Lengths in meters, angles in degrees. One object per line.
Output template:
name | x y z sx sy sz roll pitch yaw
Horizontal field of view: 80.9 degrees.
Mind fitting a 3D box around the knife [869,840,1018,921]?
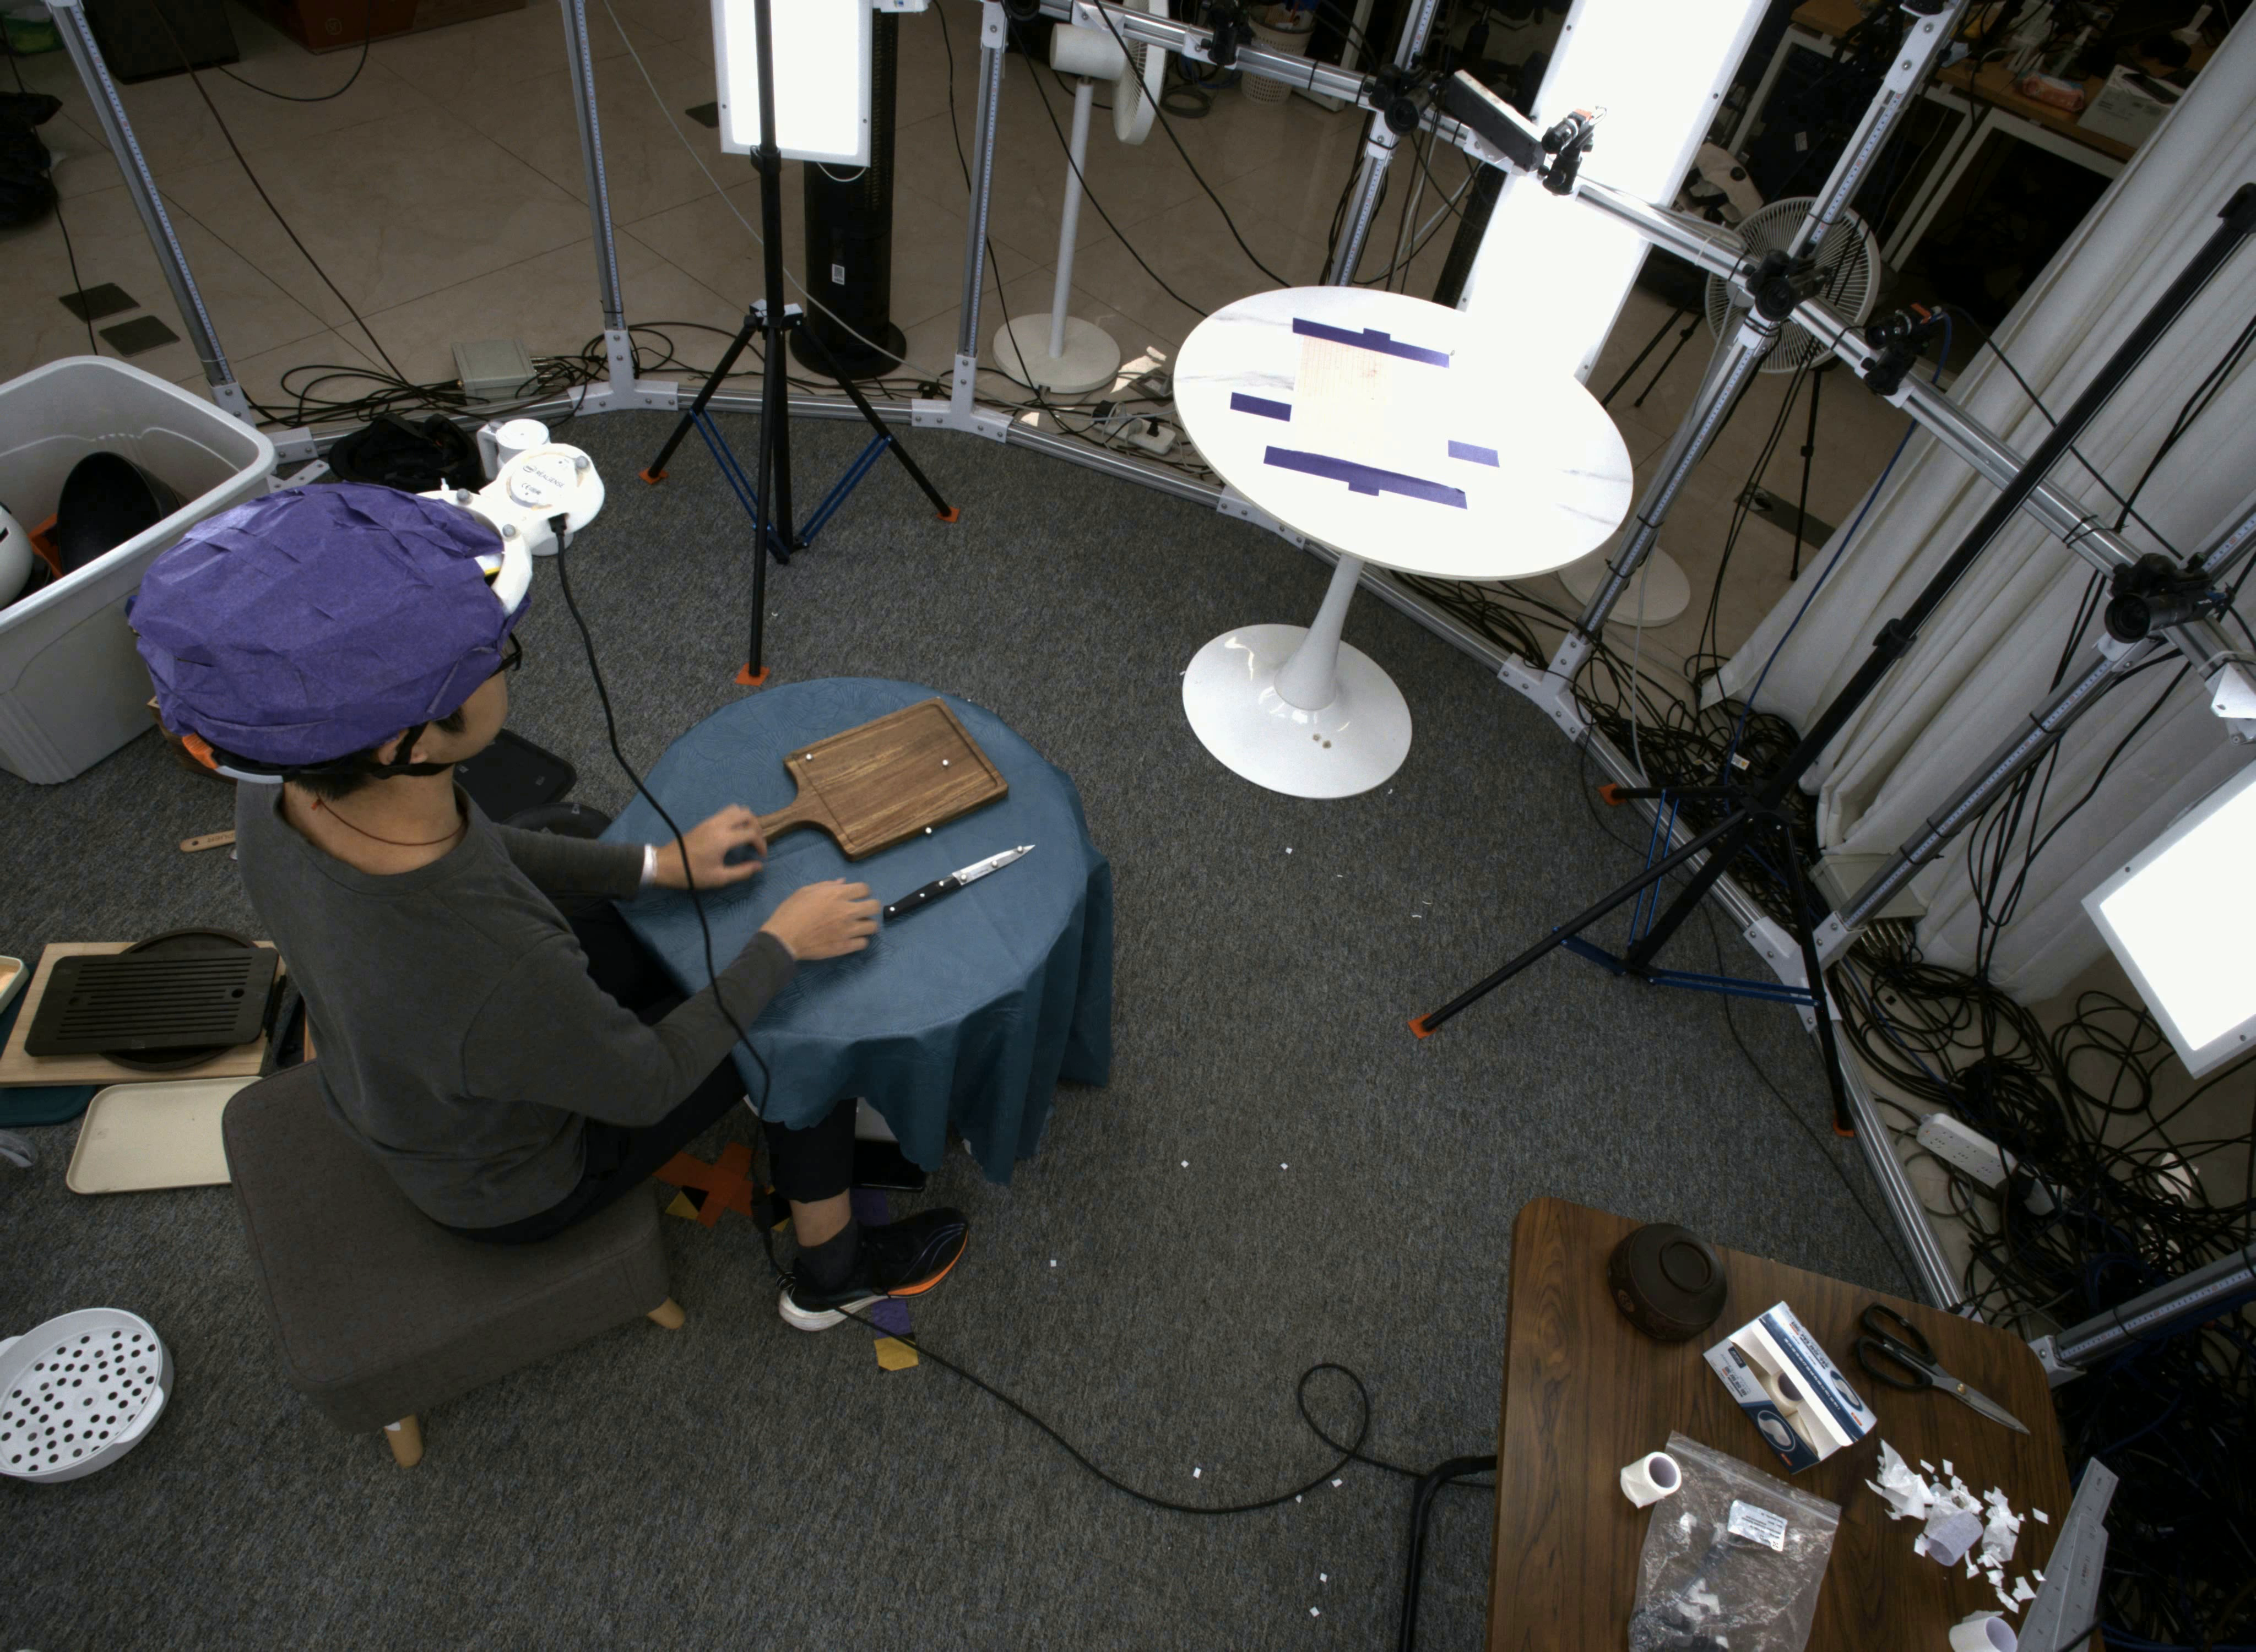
knife | -0.238 0.068 1.725 0.239 0.016 0.024 -28 66 -33

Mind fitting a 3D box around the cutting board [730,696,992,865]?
cutting board | -0.380 -0.050 1.770 0.353 0.023 0.196 -27 64 -29
